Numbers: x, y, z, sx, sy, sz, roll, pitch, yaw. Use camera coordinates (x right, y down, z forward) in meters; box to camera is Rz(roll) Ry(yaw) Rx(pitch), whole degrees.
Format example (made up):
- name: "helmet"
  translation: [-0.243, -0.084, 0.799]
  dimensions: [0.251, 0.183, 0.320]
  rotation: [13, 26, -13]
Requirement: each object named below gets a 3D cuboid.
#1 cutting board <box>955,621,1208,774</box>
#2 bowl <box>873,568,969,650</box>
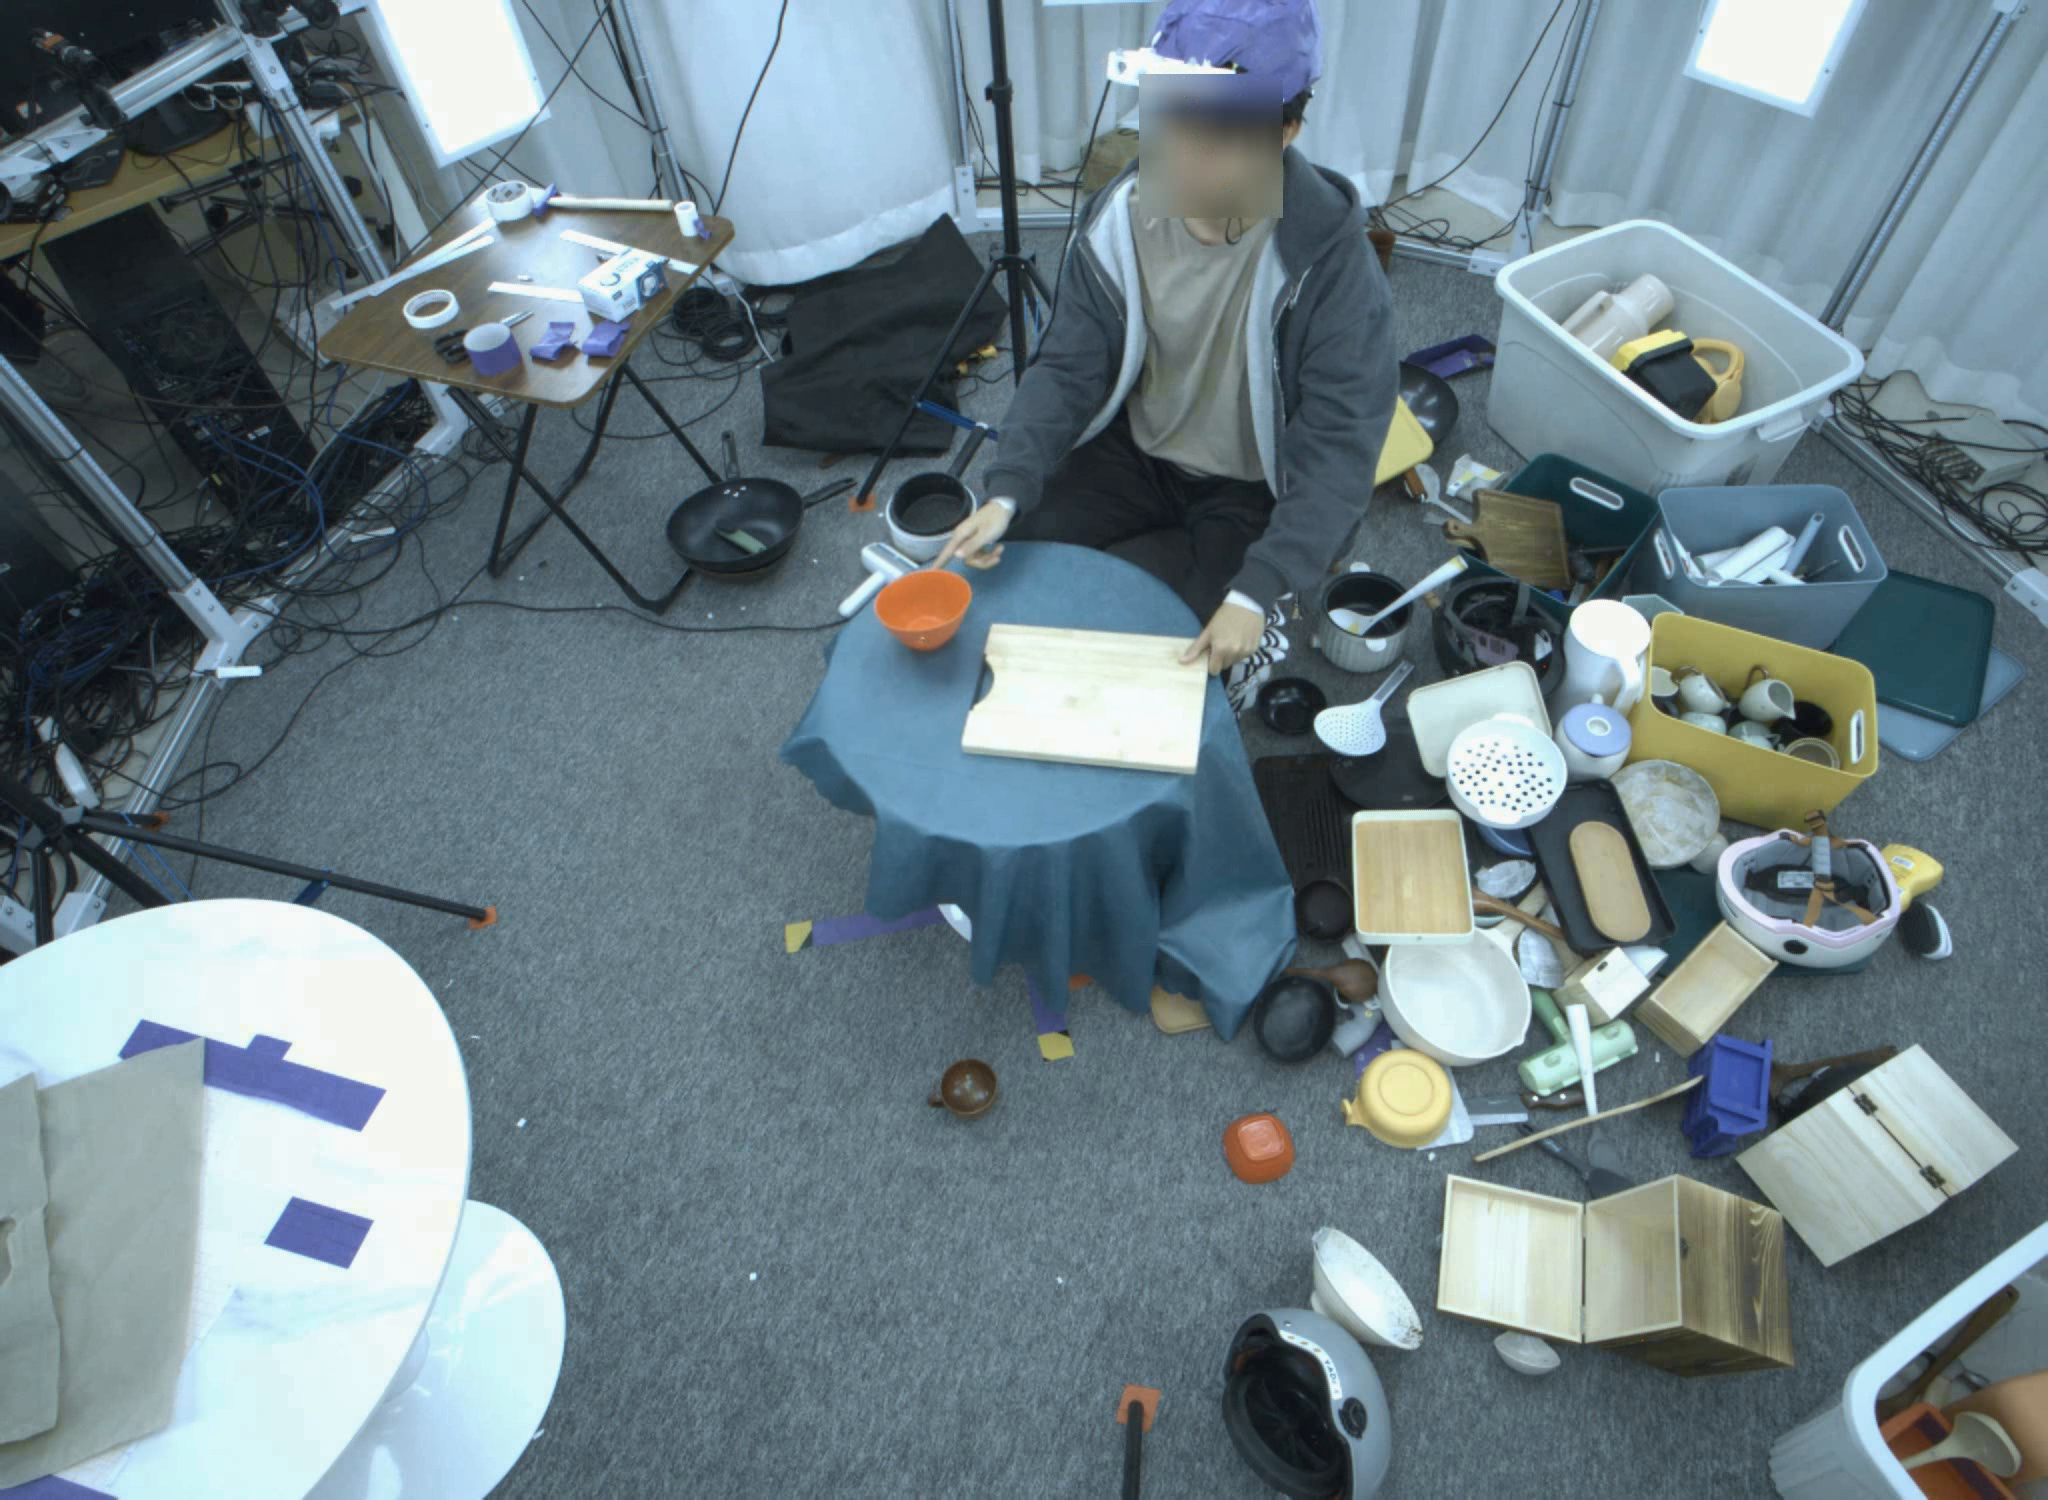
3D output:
- name: "cutting board"
  translation: [0.090, -0.083, 1.832]
  dimensions: [0.347, 0.024, 0.249]
  rotation: [5, 54, 7]
- name: "bowl"
  translation: [-0.152, -0.203, 1.876]
  dimensions: [0.148, 0.106, 0.146]
  rotation: [-2, 56, 4]
